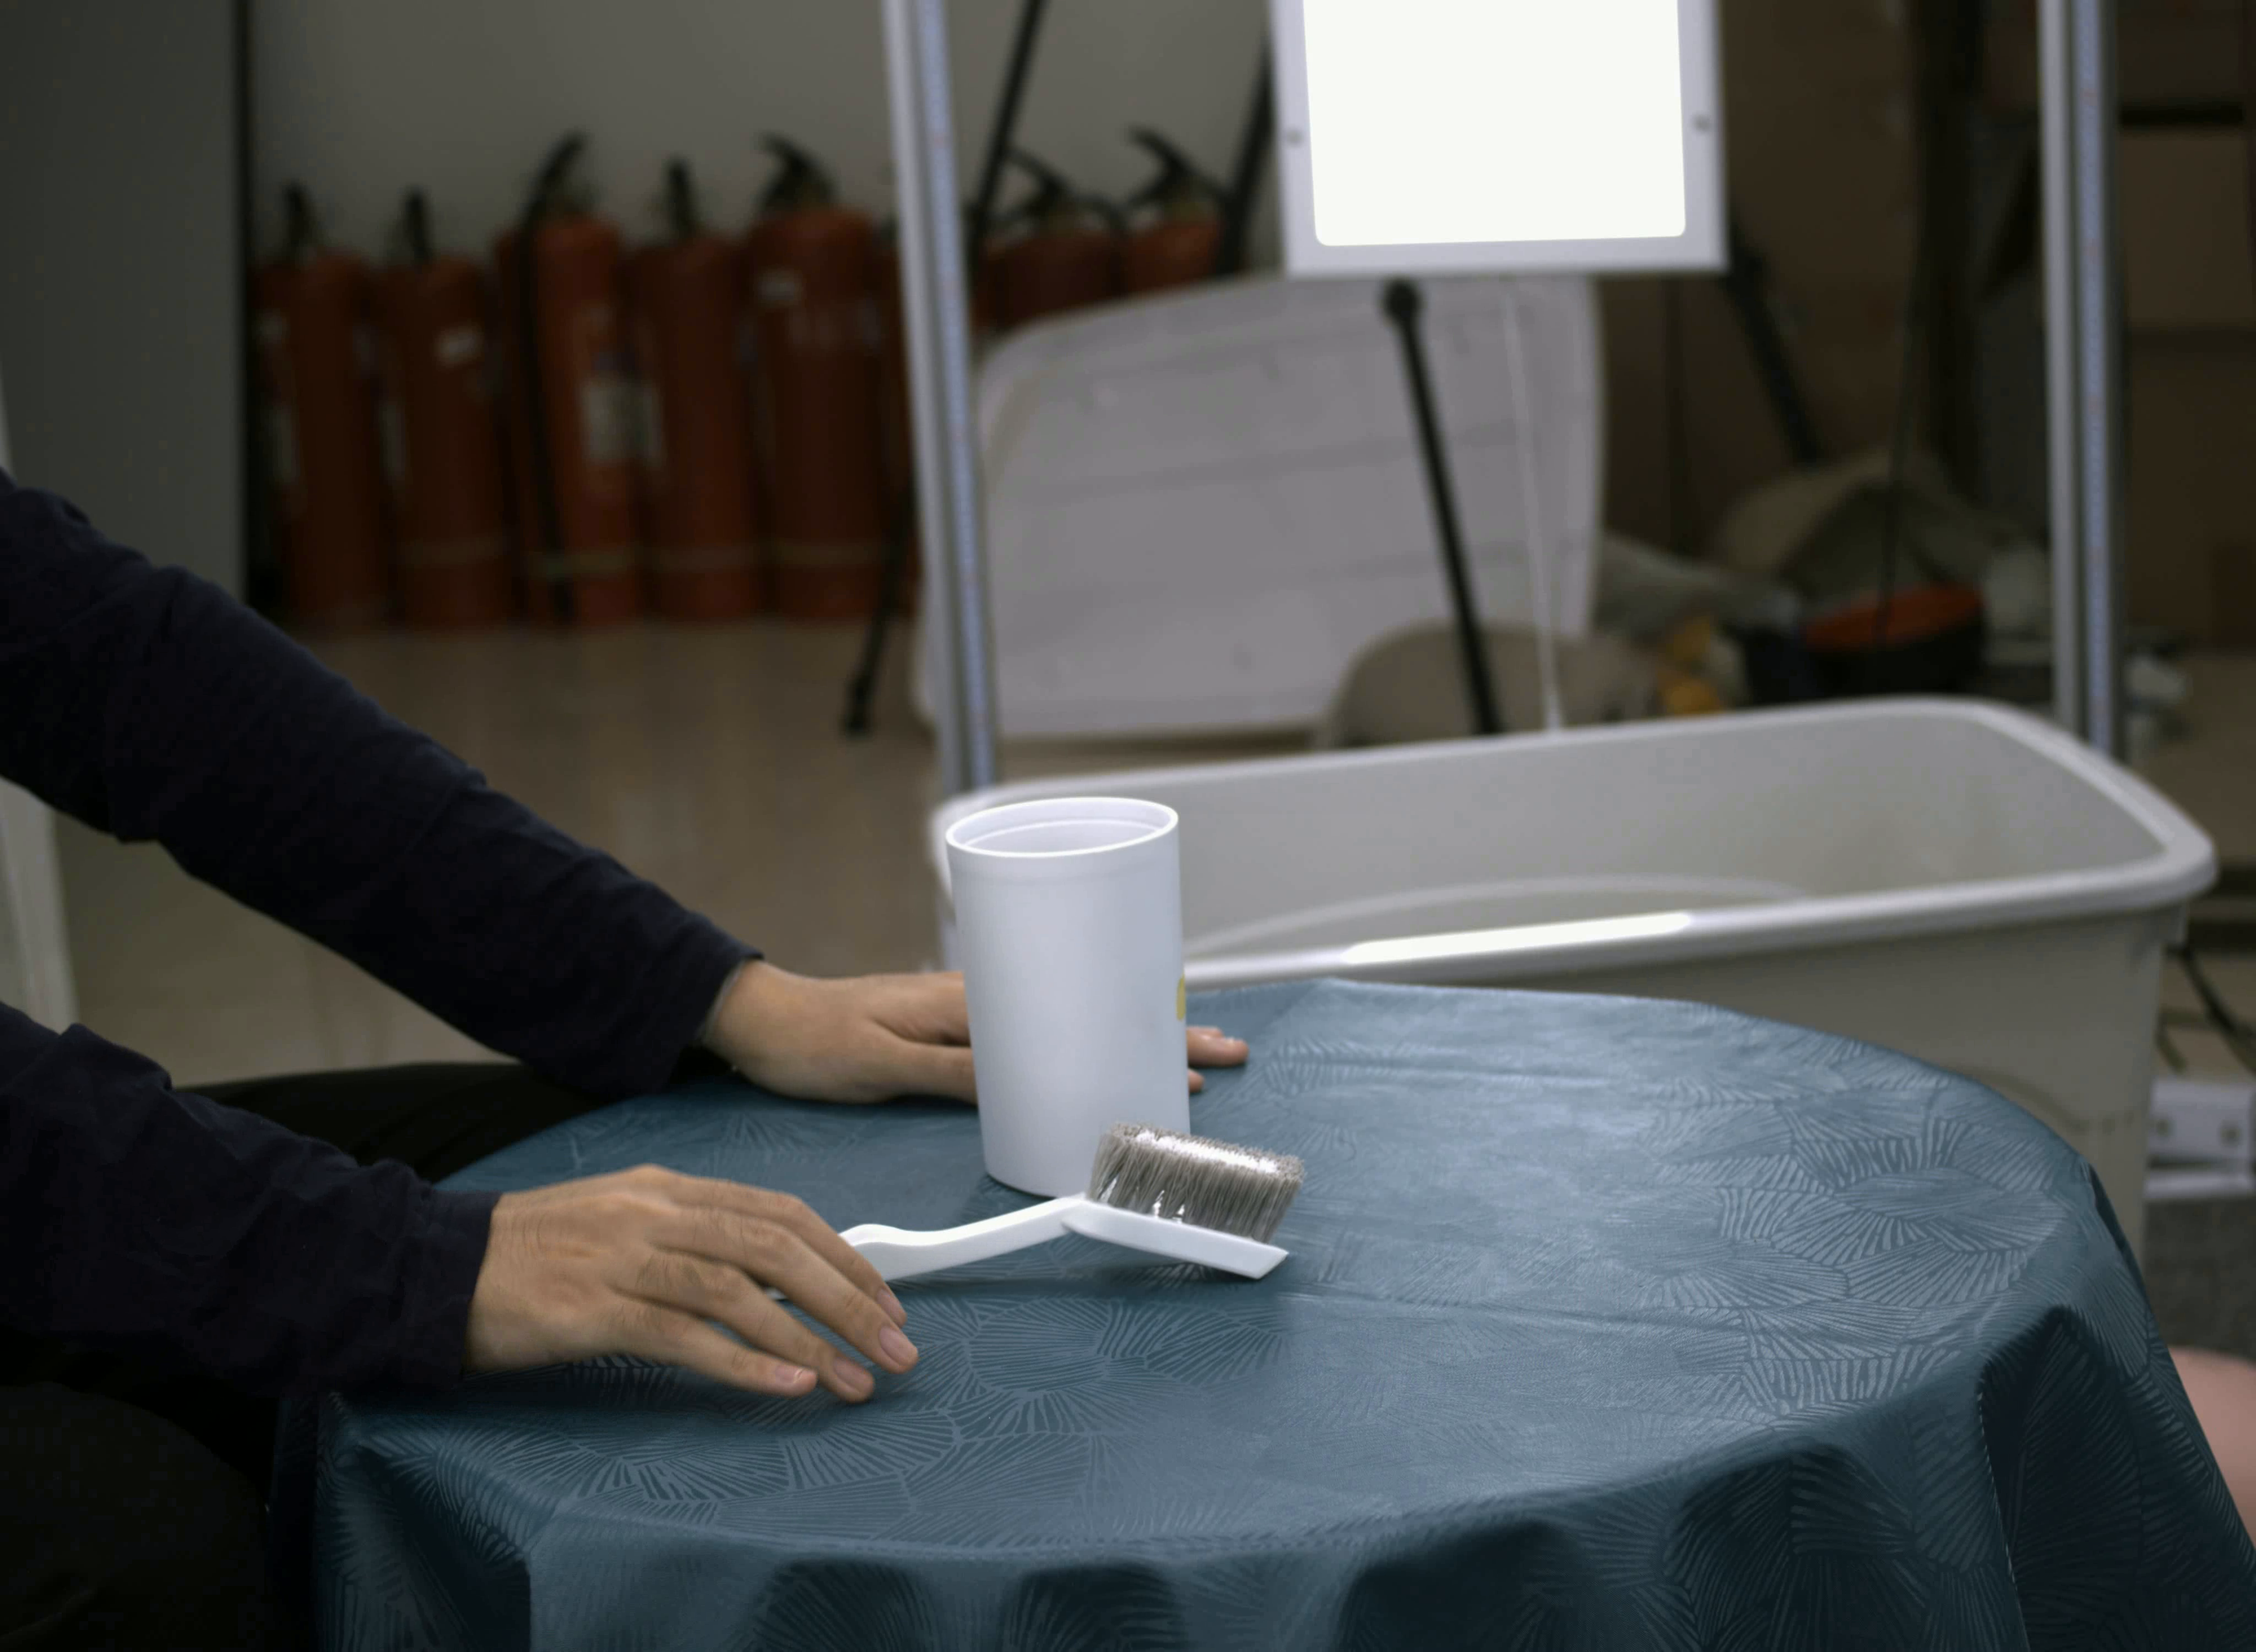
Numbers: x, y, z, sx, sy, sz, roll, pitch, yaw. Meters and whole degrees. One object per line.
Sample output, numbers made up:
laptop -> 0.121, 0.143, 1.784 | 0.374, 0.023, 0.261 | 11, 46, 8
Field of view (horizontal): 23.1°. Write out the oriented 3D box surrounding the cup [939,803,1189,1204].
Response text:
cup -> -0.019, 0.061, 1.915 | 0.081, 0.126, 0.081 | -6, 13, 0

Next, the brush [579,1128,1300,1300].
brush -> -0.063, 0.128, 1.816 | 0.245, 0.050, 0.034 | -3, 17, 10
